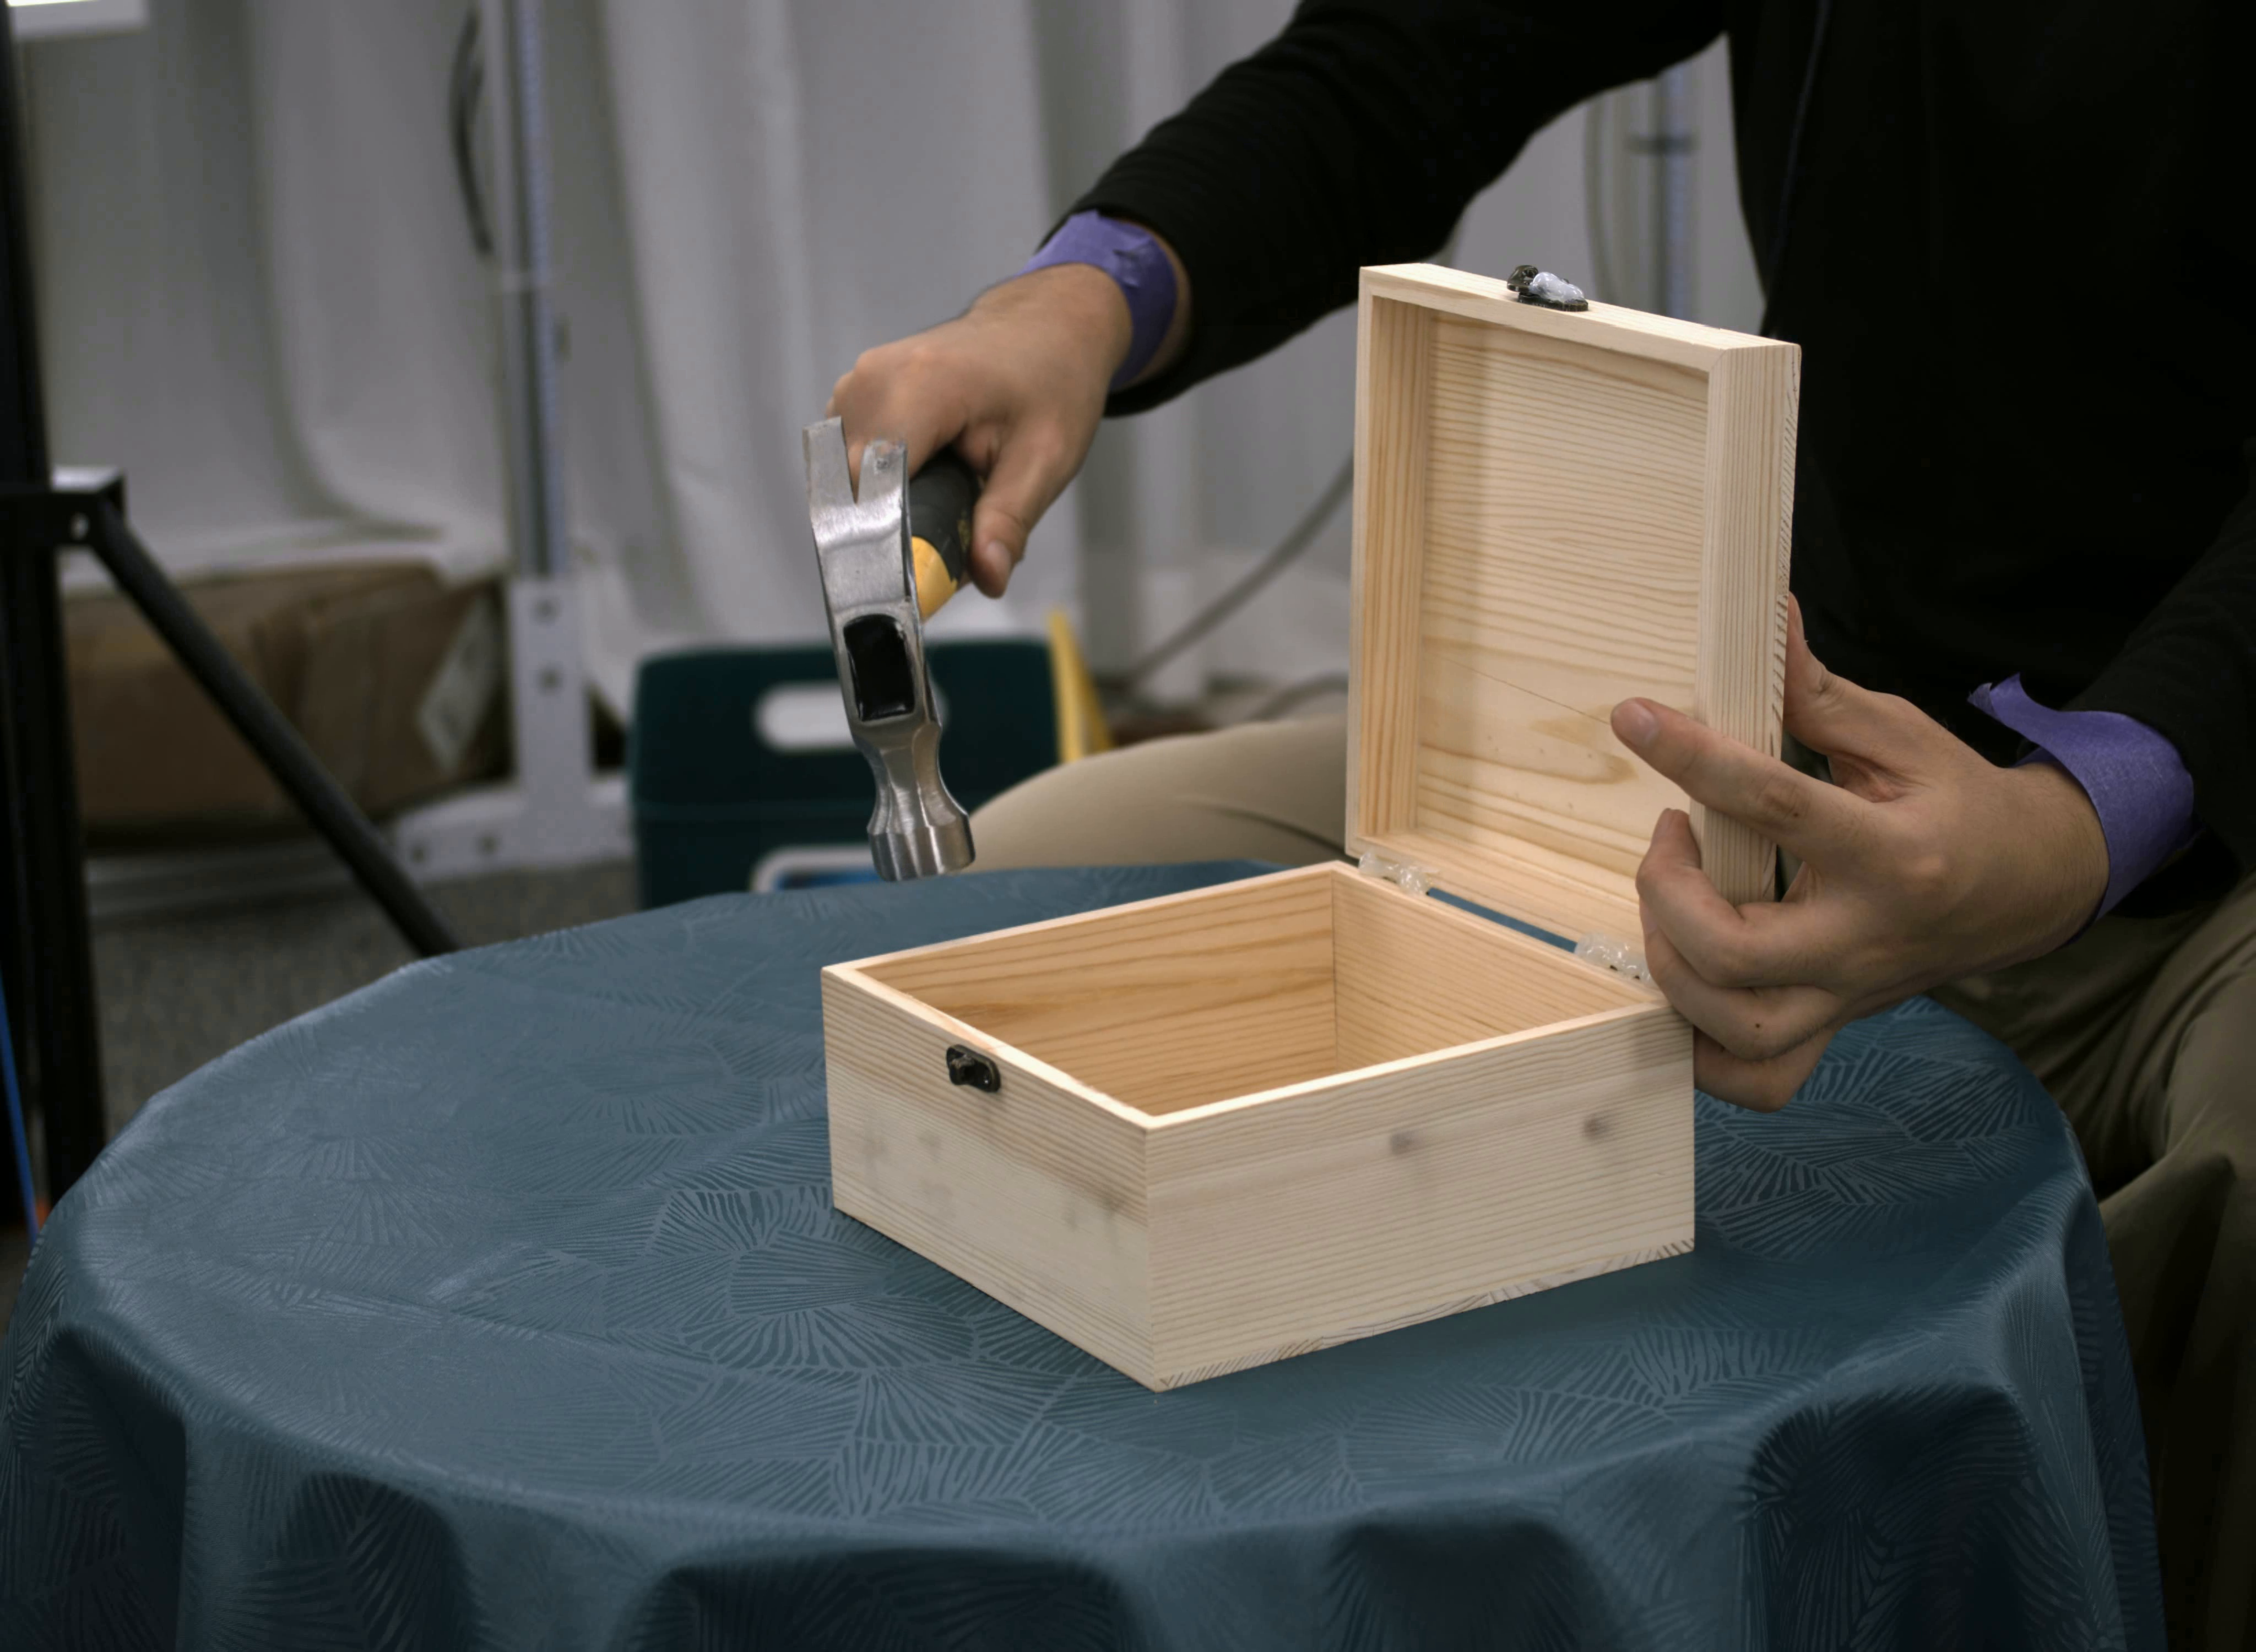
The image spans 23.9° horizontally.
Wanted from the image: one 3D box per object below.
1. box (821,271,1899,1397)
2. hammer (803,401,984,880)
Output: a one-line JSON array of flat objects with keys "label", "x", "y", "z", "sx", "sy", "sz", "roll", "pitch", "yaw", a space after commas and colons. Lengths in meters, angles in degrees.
[{"label": "box", "x": 0.061, "y": -0.009, "z": 1.503, "sx": 0.259, "sy": 0.253, "sz": 0.186, "roll": -11, "pitch": 16, "yaw": -29}, {"label": "hammer", "x": -0.066, "y": -0.084, "z": 1.692, "sx": 0.032, "sy": 0.131, "sz": 0.339, "roll": -9, "pitch": 12, "yaw": 3}]
